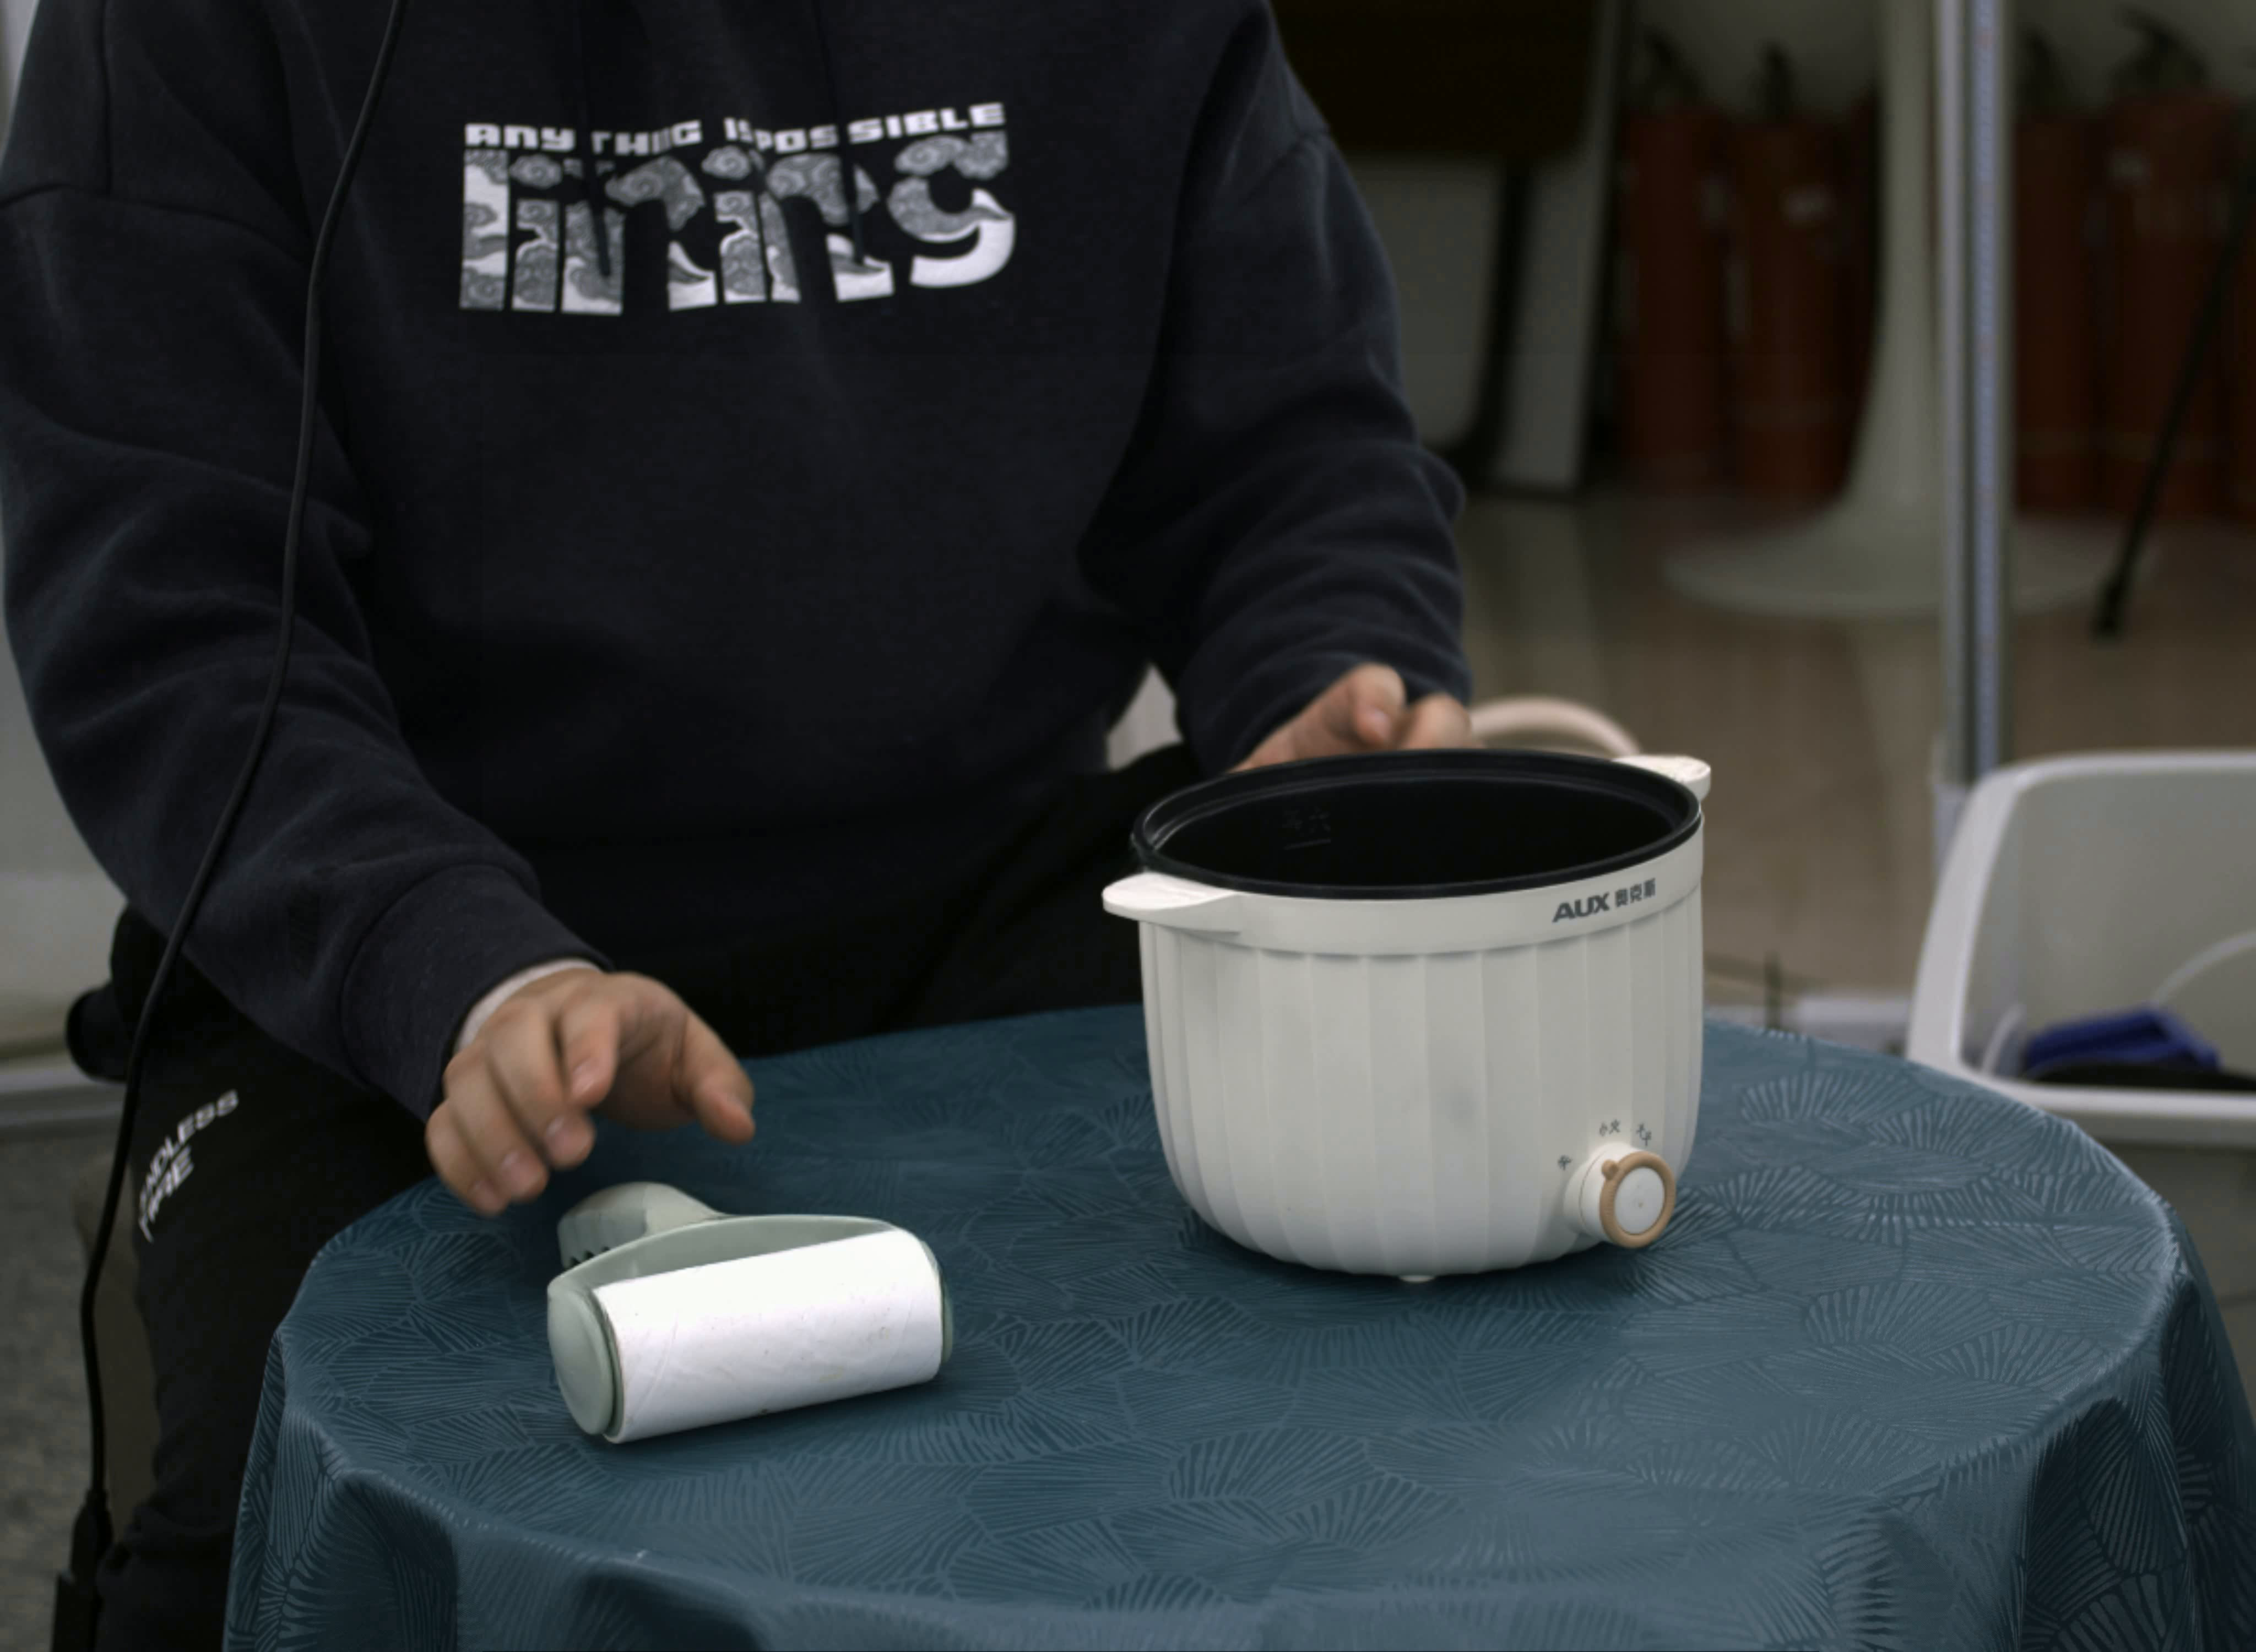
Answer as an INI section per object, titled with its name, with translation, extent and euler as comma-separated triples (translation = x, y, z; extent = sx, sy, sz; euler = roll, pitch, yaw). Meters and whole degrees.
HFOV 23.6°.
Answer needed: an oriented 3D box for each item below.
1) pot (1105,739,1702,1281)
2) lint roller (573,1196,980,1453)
[pot]
translation = 0.098, 0.059, 1.705
extent = 0.235, 0.144, 0.192
euler = -15, 15, -35
[lint roller]
translation = -0.129, 0.138, 1.654
extent = 0.114, 0.049, 0.199
euler = -13, 14, -21
